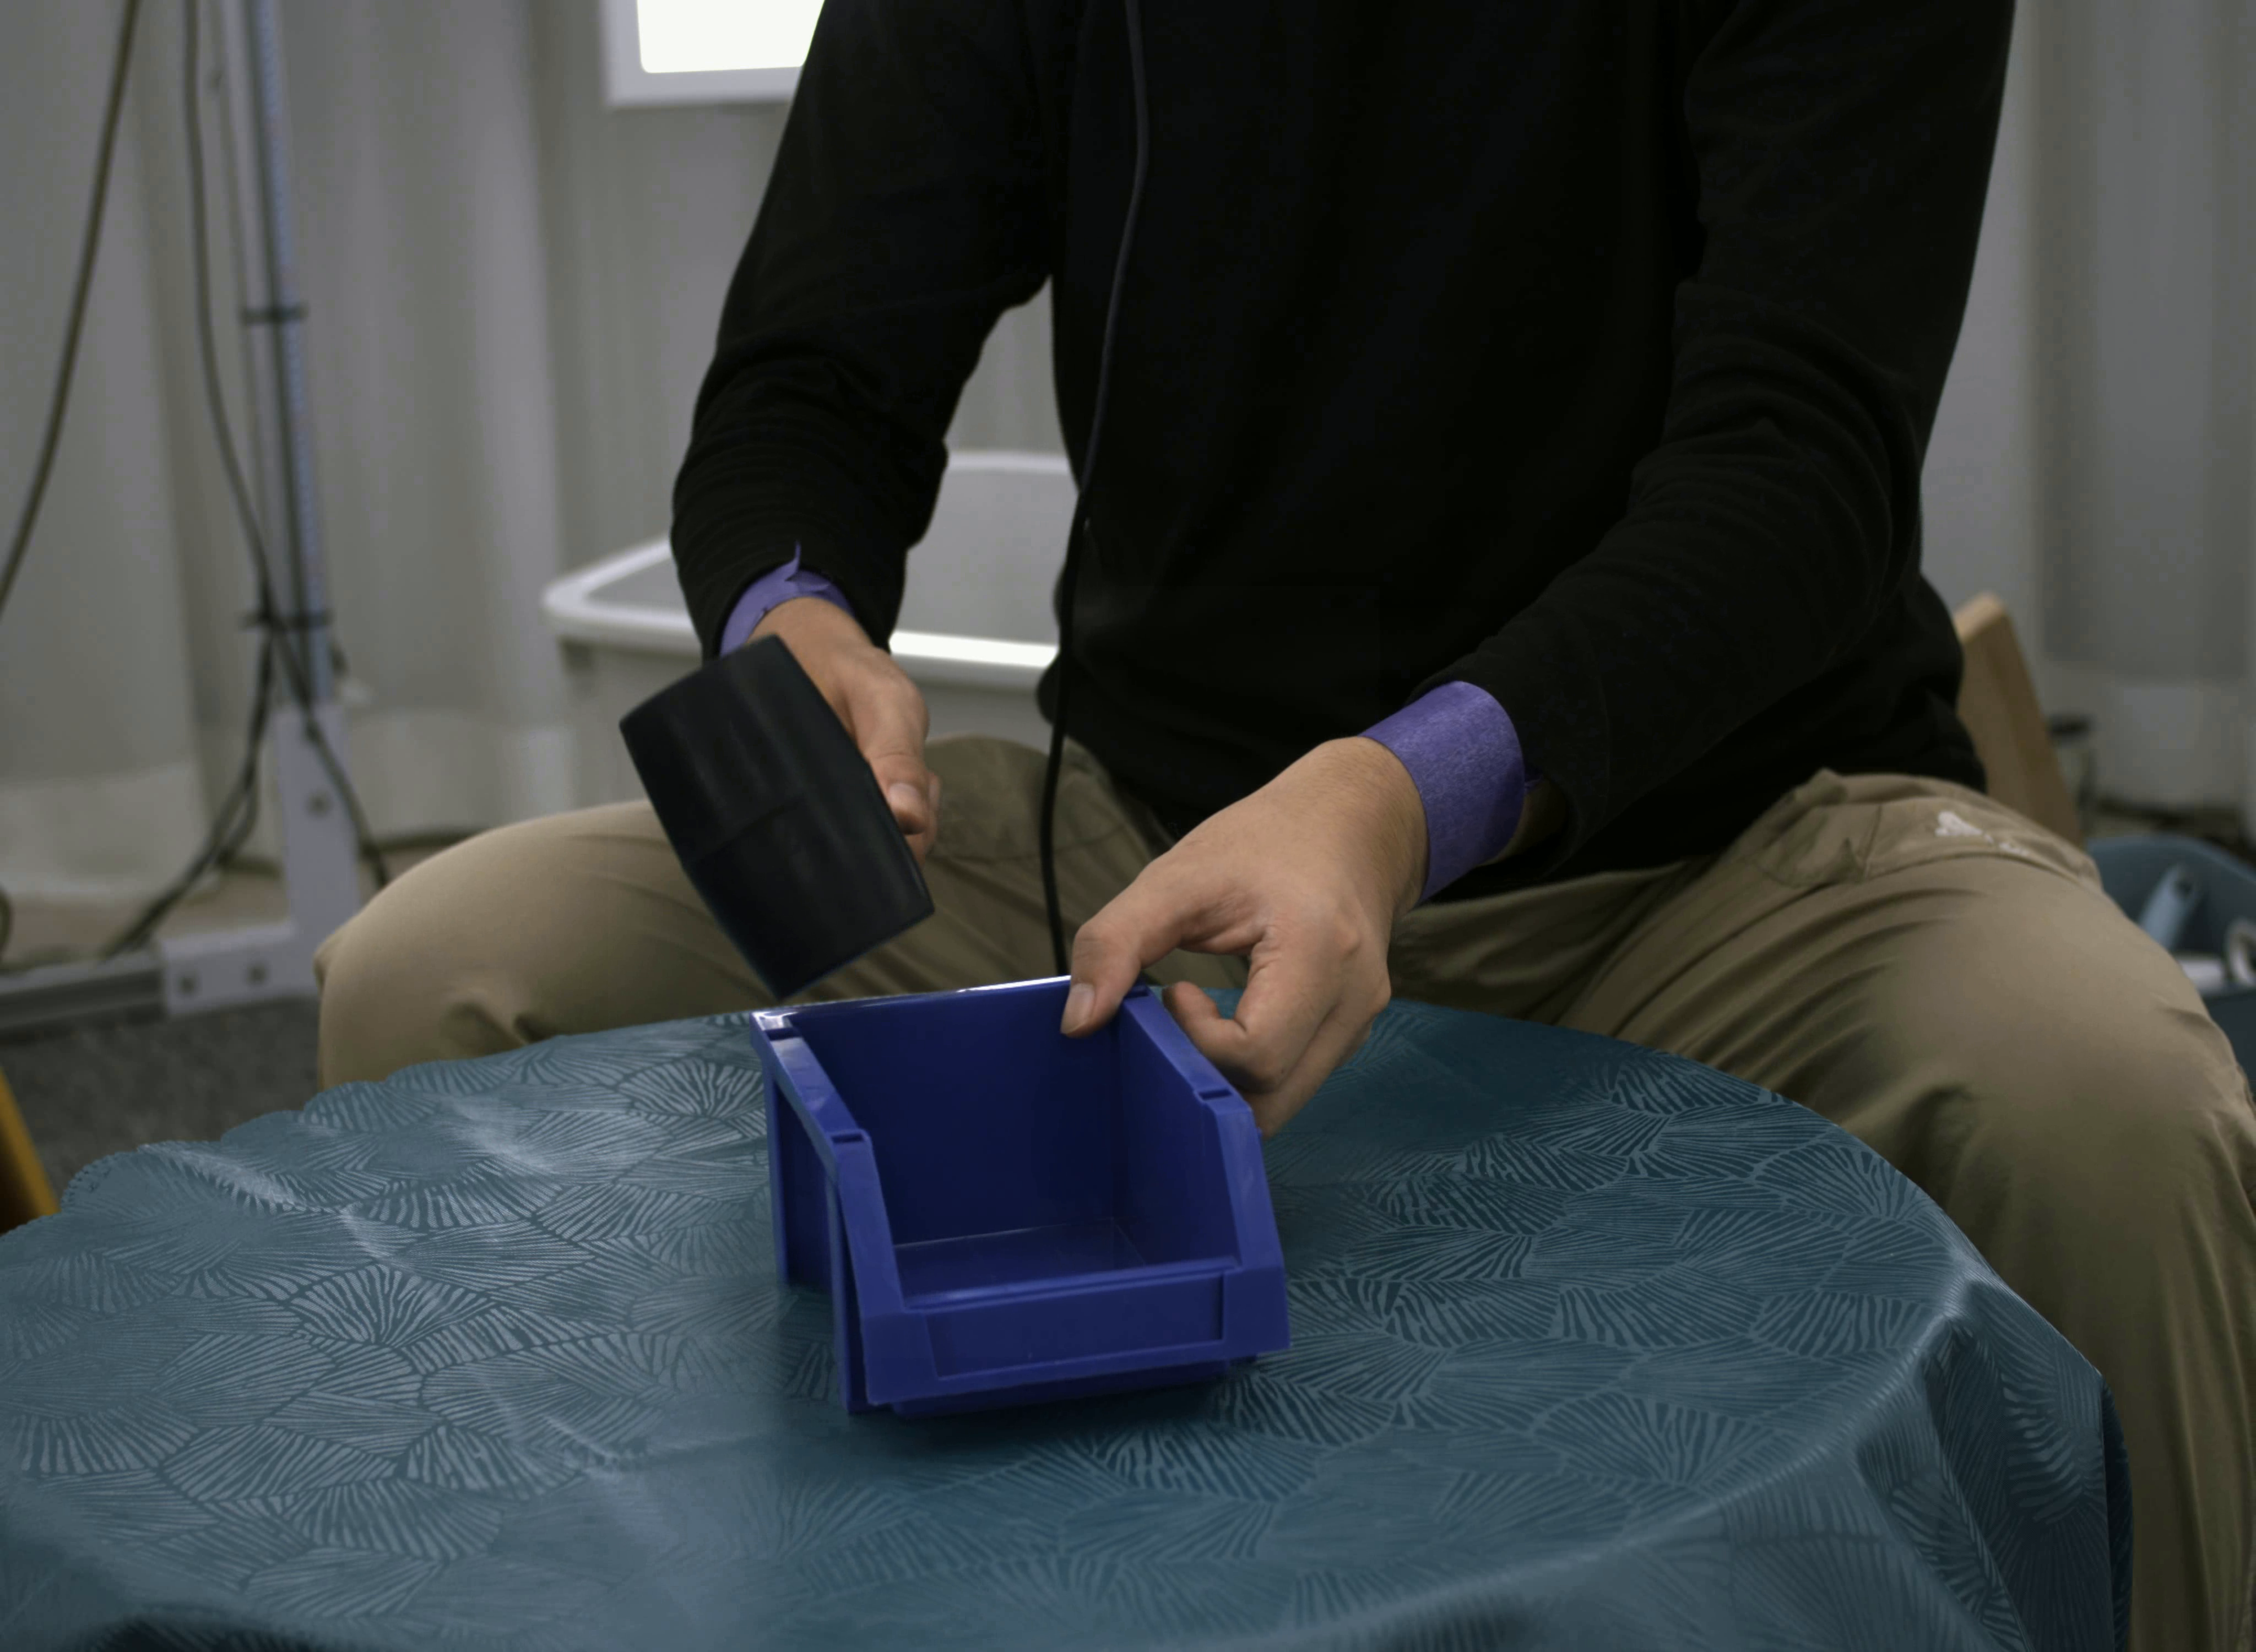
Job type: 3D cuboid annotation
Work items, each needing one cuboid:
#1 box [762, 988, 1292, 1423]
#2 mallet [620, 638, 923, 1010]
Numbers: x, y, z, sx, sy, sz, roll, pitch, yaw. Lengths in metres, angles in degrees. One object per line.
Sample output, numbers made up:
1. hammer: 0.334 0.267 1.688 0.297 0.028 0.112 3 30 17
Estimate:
1. box: -0.030 0.111 1.577 0.124 0.081 0.180 -6 12 -11
2. mallet: -0.091 -0.005 1.762 0.064 0.102 0.338 -25 -2 6
